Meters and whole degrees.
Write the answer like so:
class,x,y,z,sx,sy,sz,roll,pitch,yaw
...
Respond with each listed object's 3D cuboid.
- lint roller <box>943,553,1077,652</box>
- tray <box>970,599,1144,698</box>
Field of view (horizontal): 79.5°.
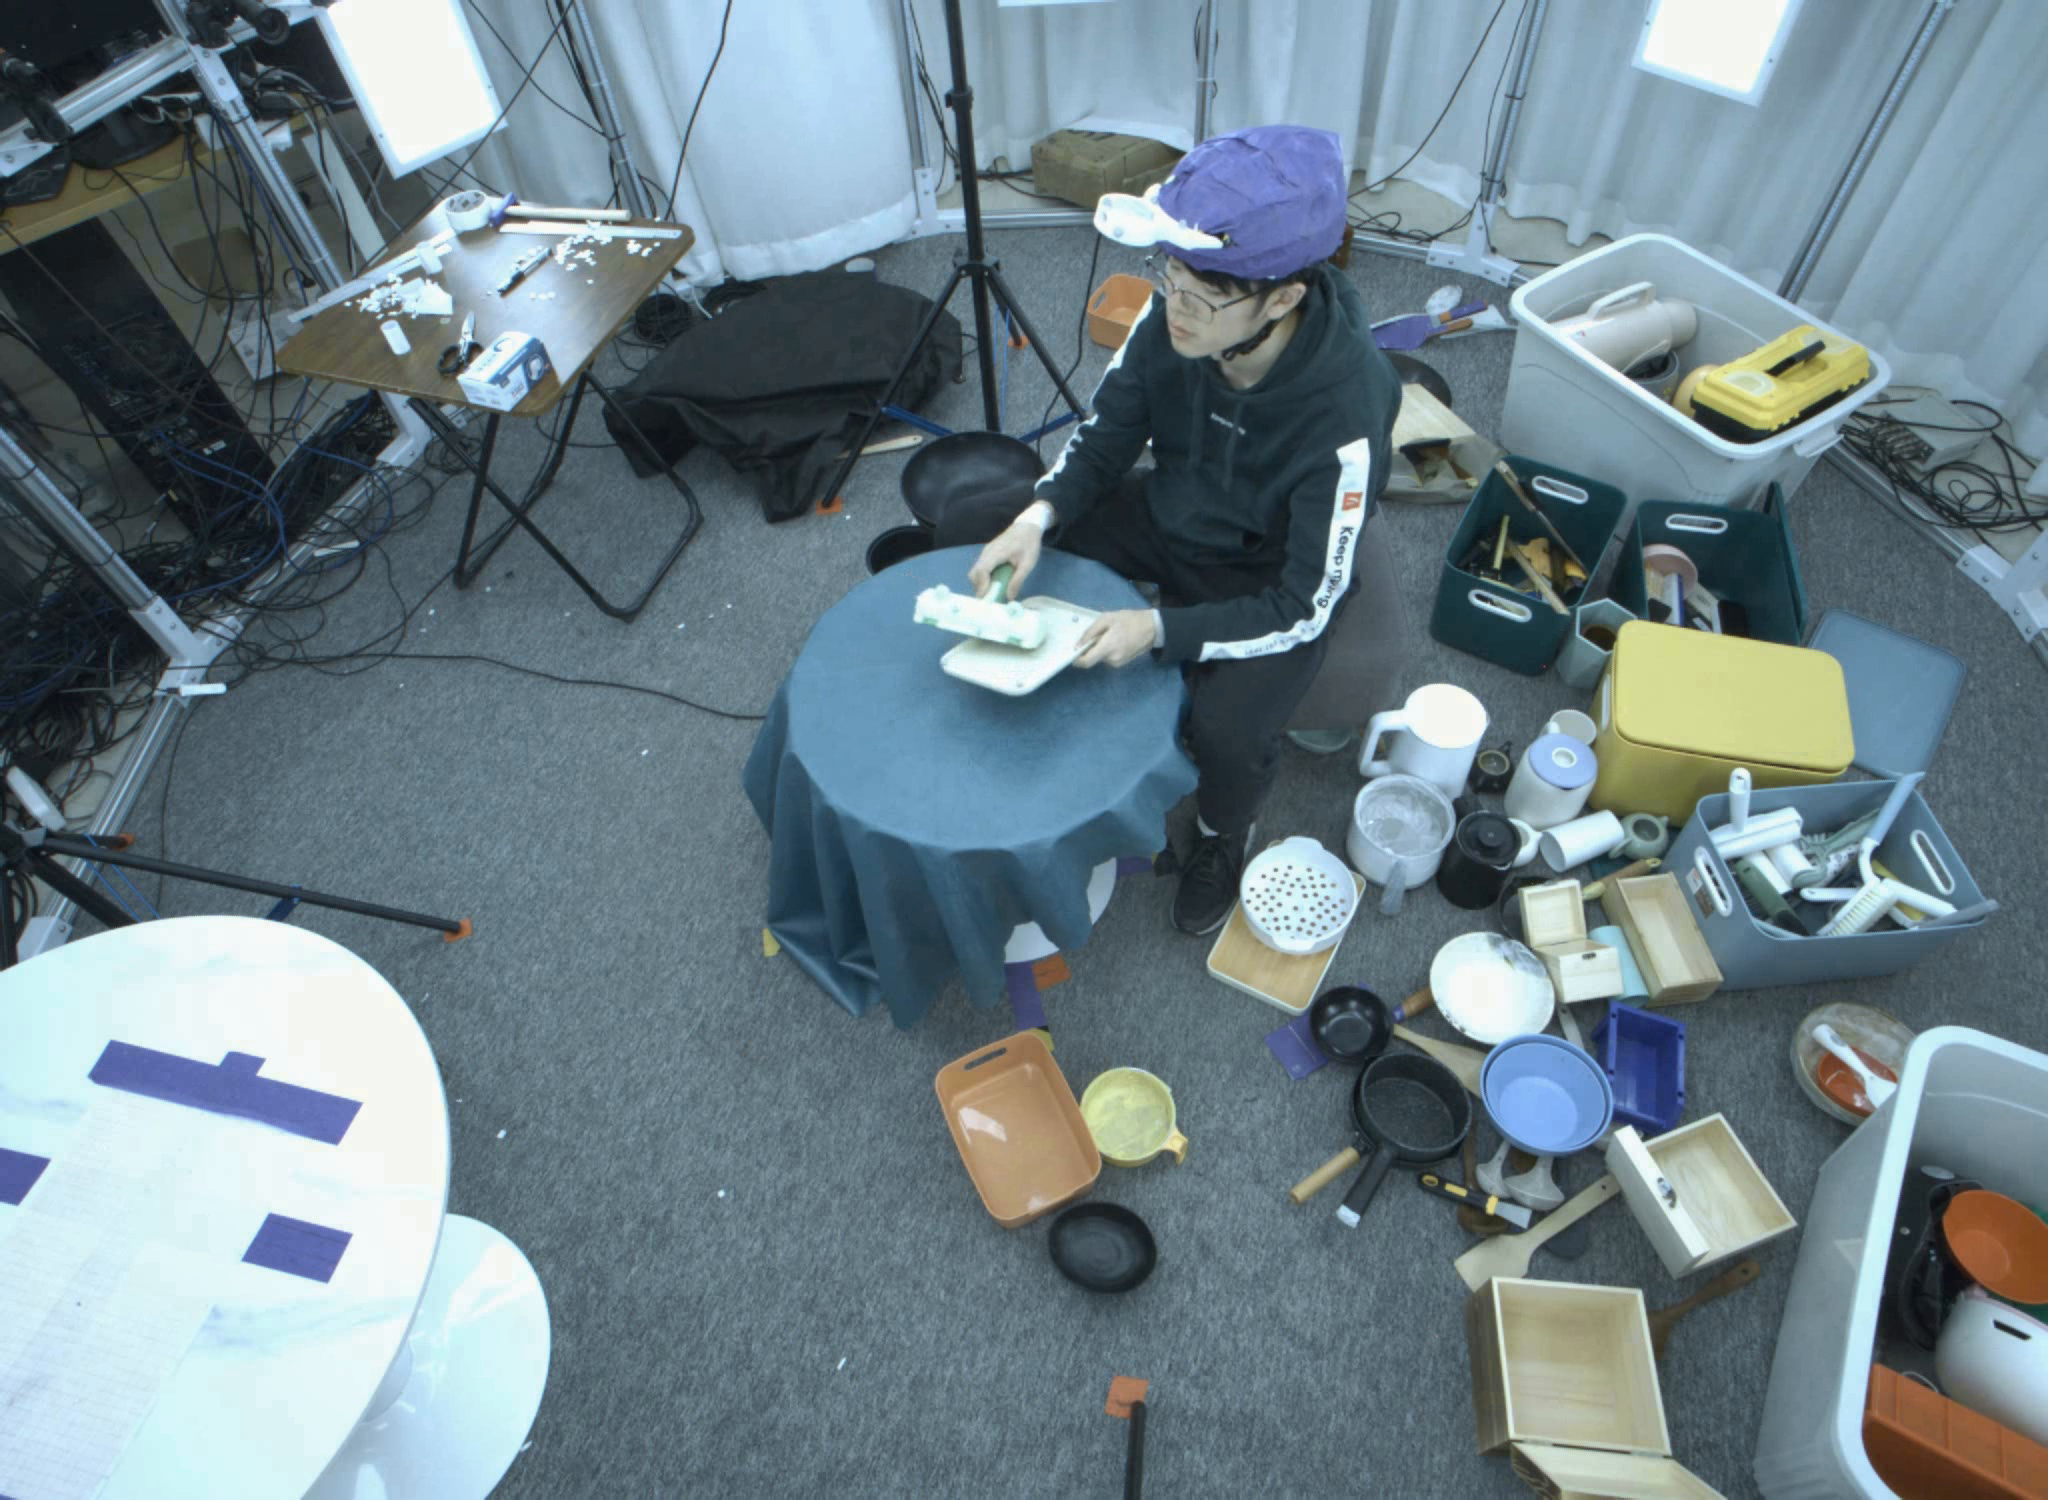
class,x,y,z,sx,sy,sz,roll,pitch,yaw
lint roller,0.000,-0.241,1.827,0.196,0.083,0.183,17,66,17
tray,0.050,-0.151,1.805,0.167,0.018,0.242,23,44,33
